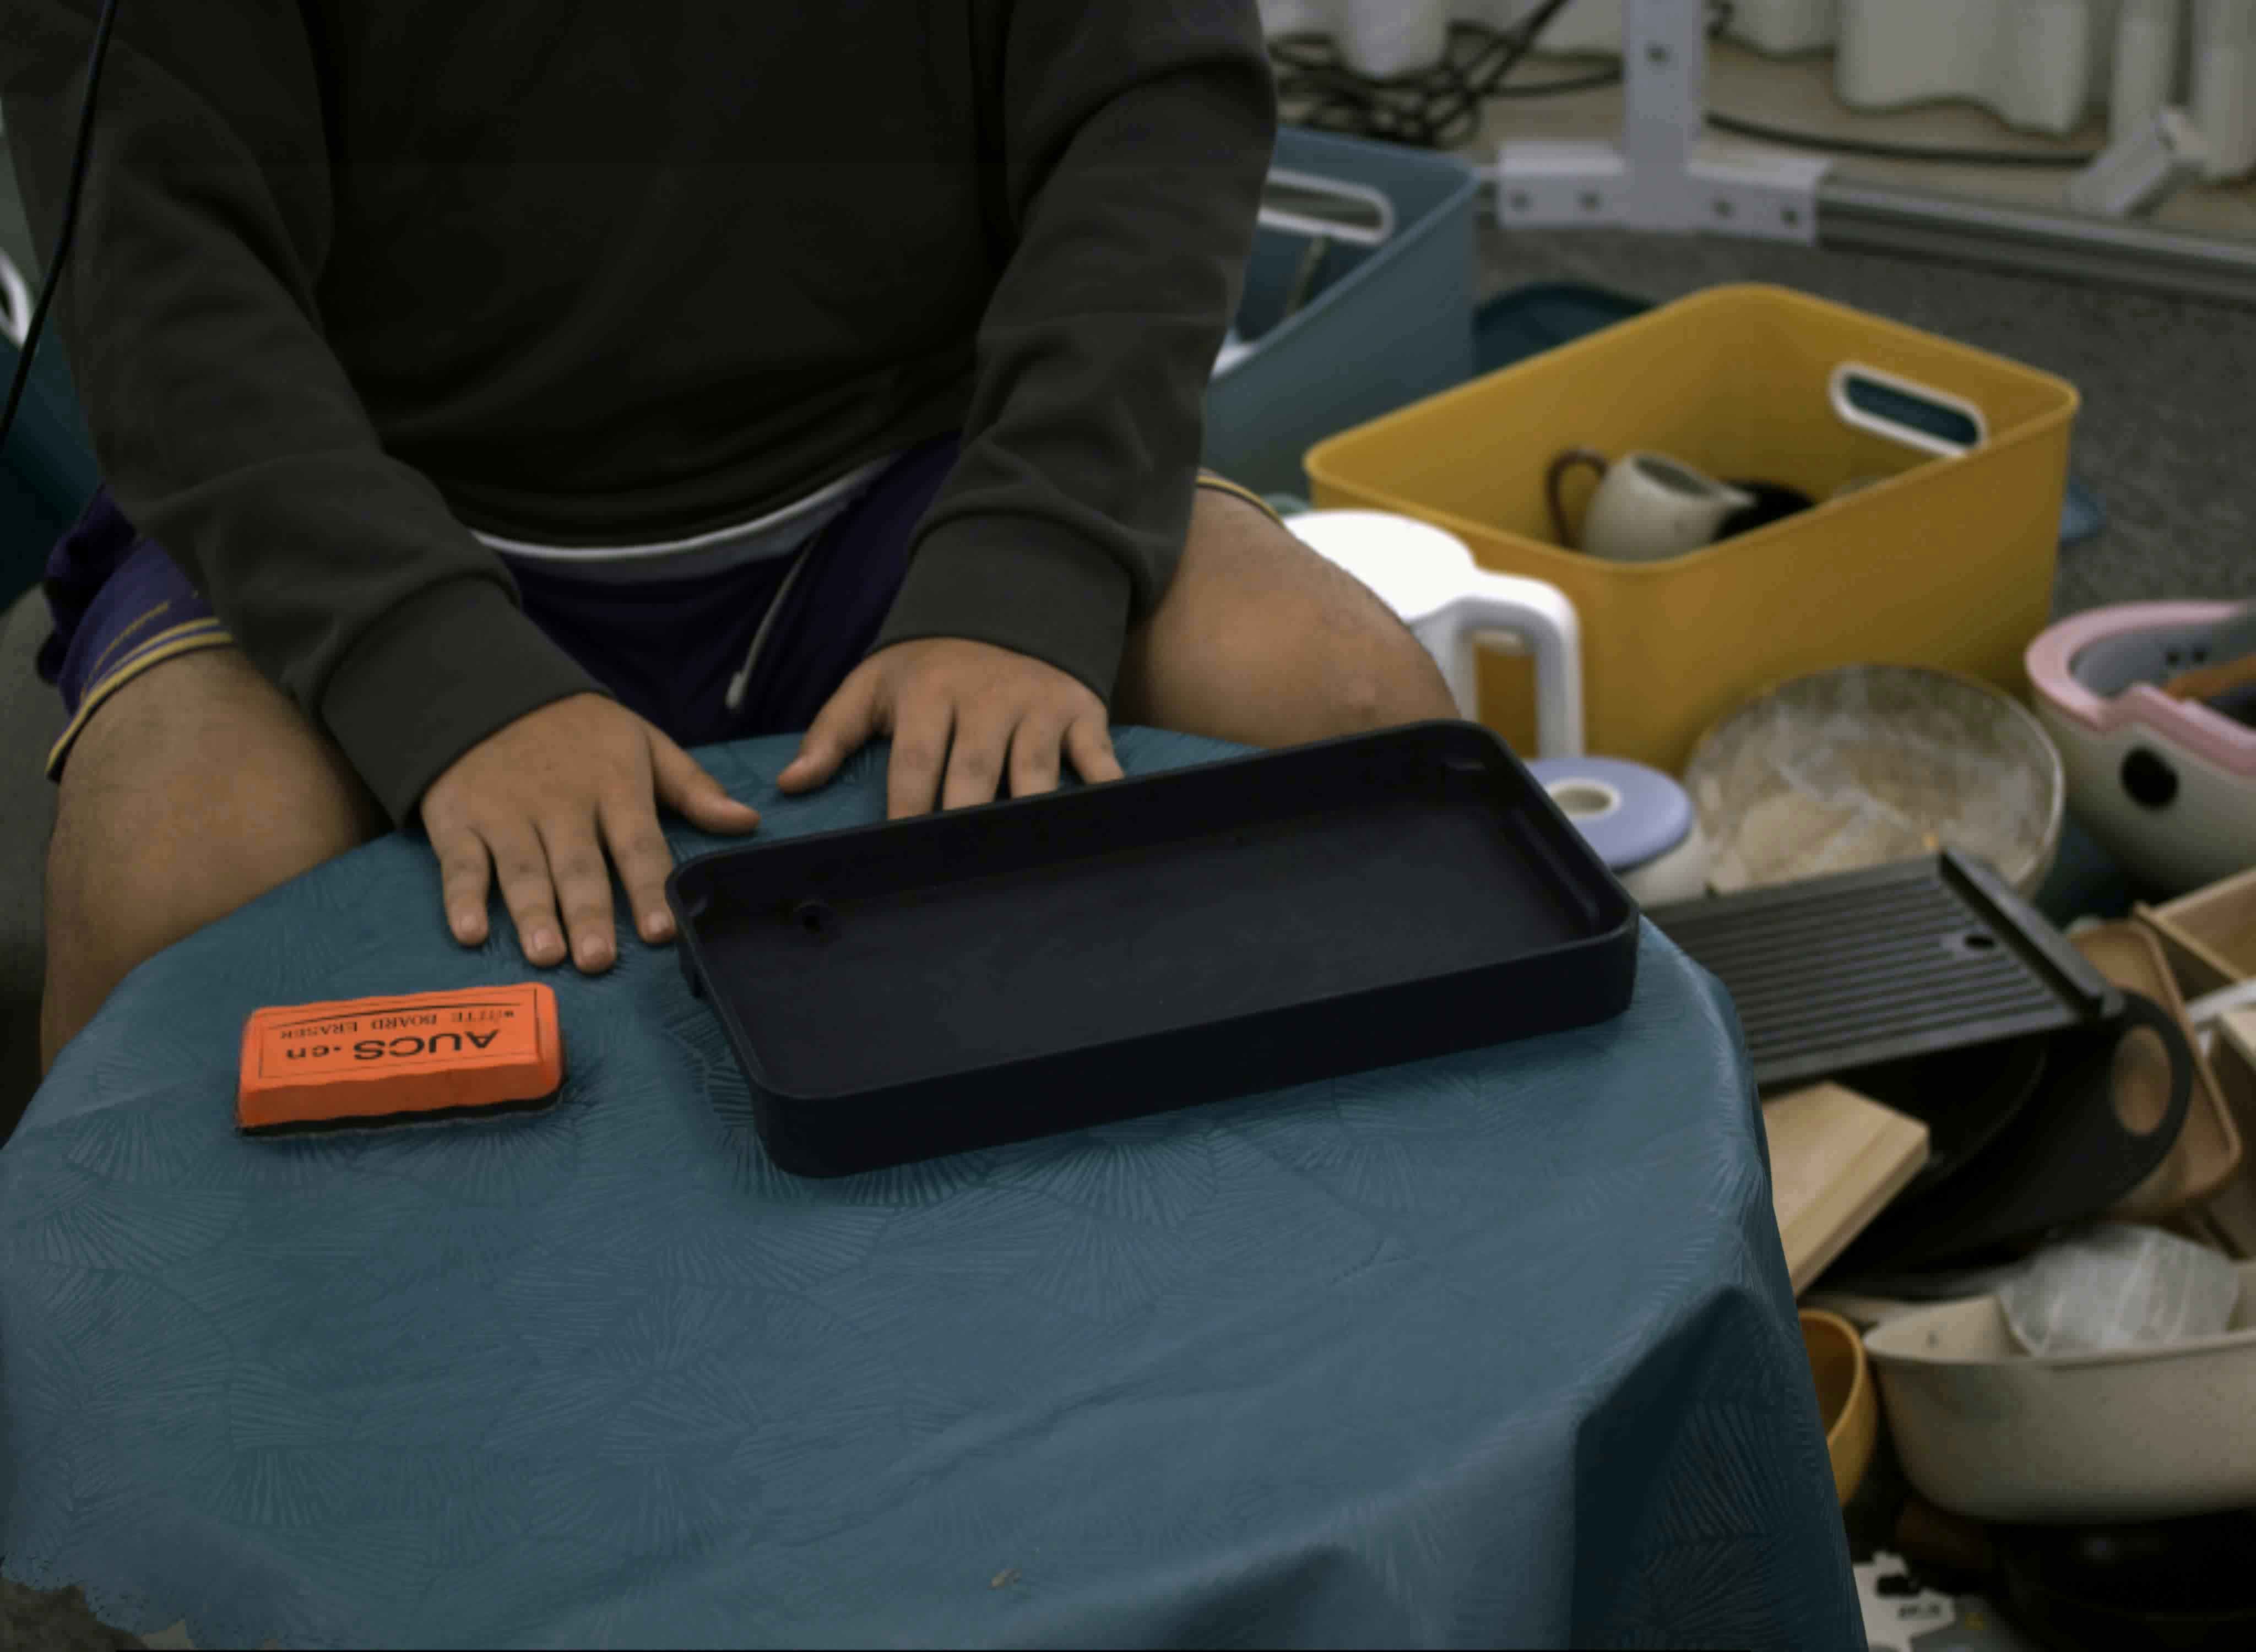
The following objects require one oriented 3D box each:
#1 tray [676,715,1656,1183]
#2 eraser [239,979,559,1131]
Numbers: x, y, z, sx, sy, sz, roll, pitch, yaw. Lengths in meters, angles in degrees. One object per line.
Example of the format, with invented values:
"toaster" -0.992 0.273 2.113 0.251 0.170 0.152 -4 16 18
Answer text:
"tray" 0.012 0.039 1.983 0.318 0.036 0.186 -12 28 -15
"eraser" -0.251 0.079 1.936 0.108 0.022 0.059 -7 22 -4
